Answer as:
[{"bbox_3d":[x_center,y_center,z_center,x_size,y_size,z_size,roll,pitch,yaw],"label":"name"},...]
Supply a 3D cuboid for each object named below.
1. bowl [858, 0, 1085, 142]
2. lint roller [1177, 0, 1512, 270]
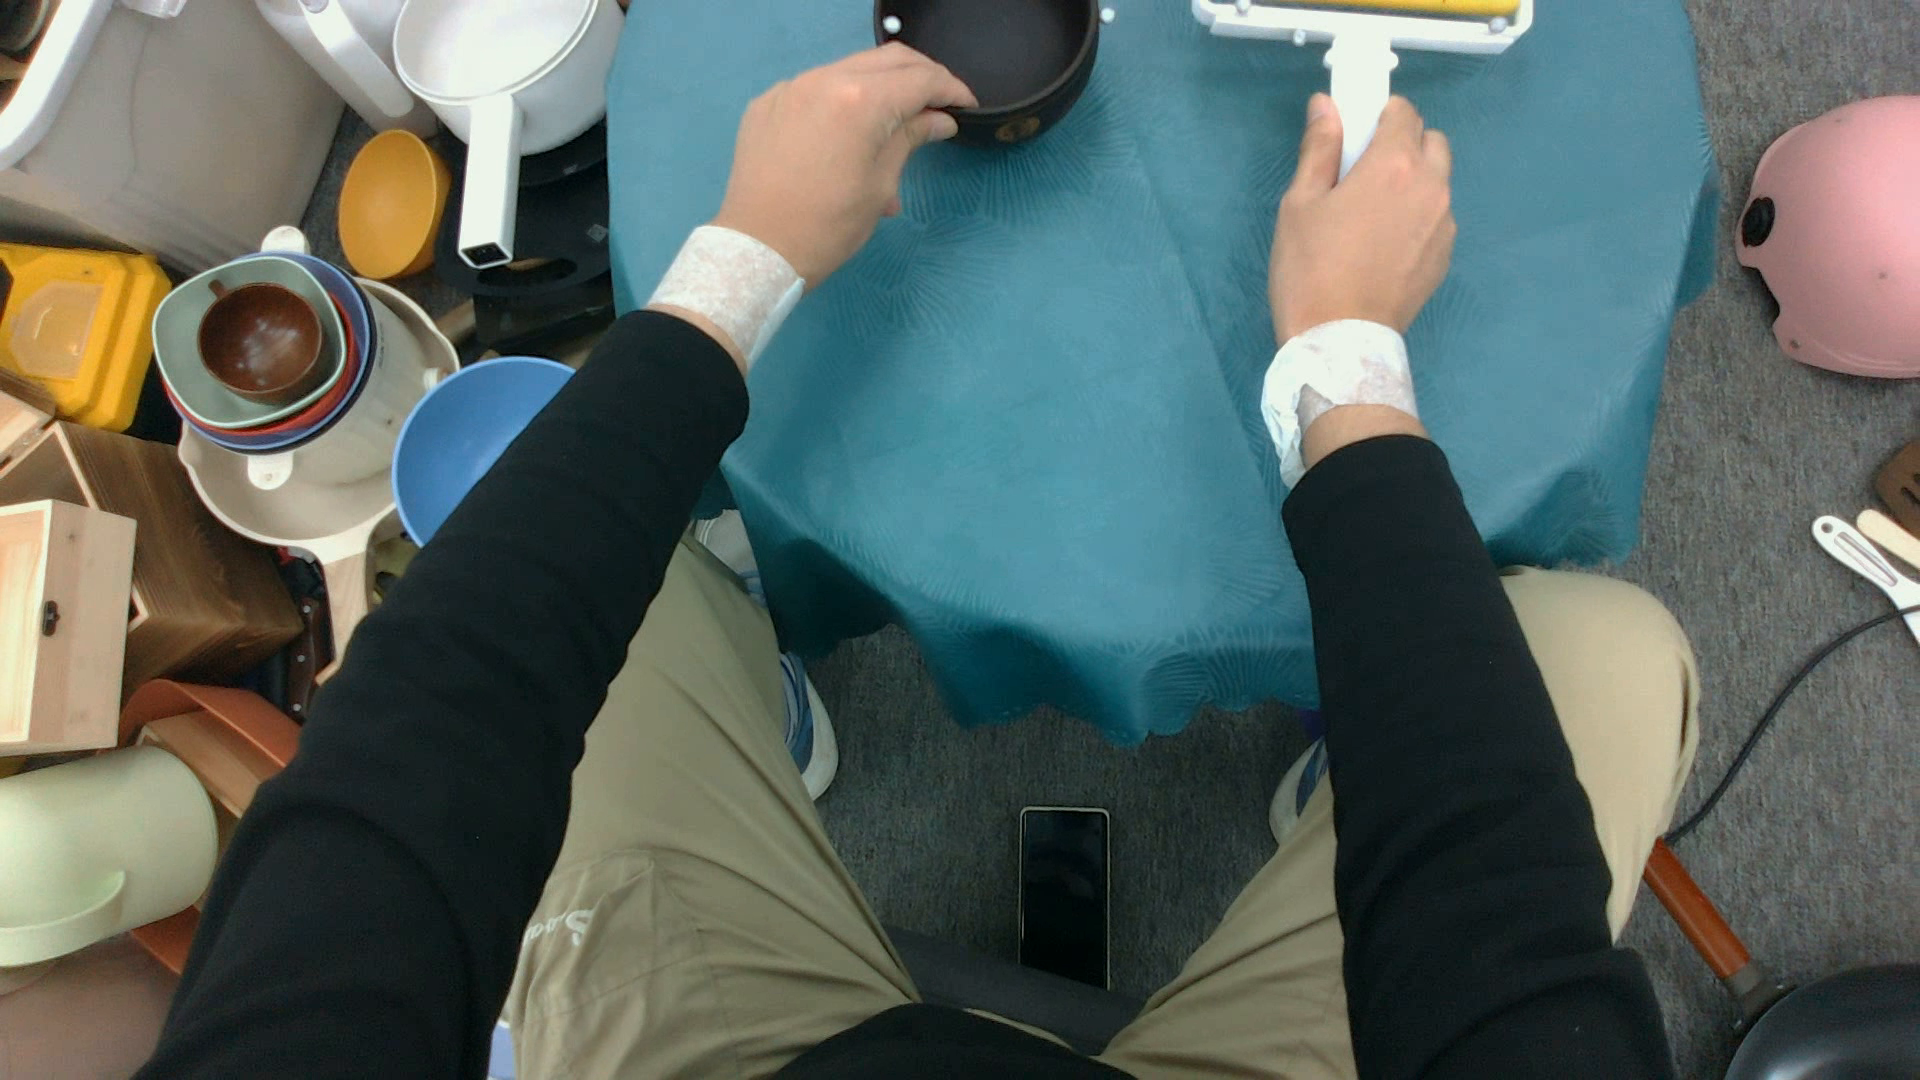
[{"bbox_3d":[0.007,-0.266,0.735,0.118,0.070,0.118,-1,77,3],"label":"bowl"},{"bbox_3d":[0.200,-0.234,0.703,0.174,0.051,0.192,1,70,0],"label":"lint roller"}]
